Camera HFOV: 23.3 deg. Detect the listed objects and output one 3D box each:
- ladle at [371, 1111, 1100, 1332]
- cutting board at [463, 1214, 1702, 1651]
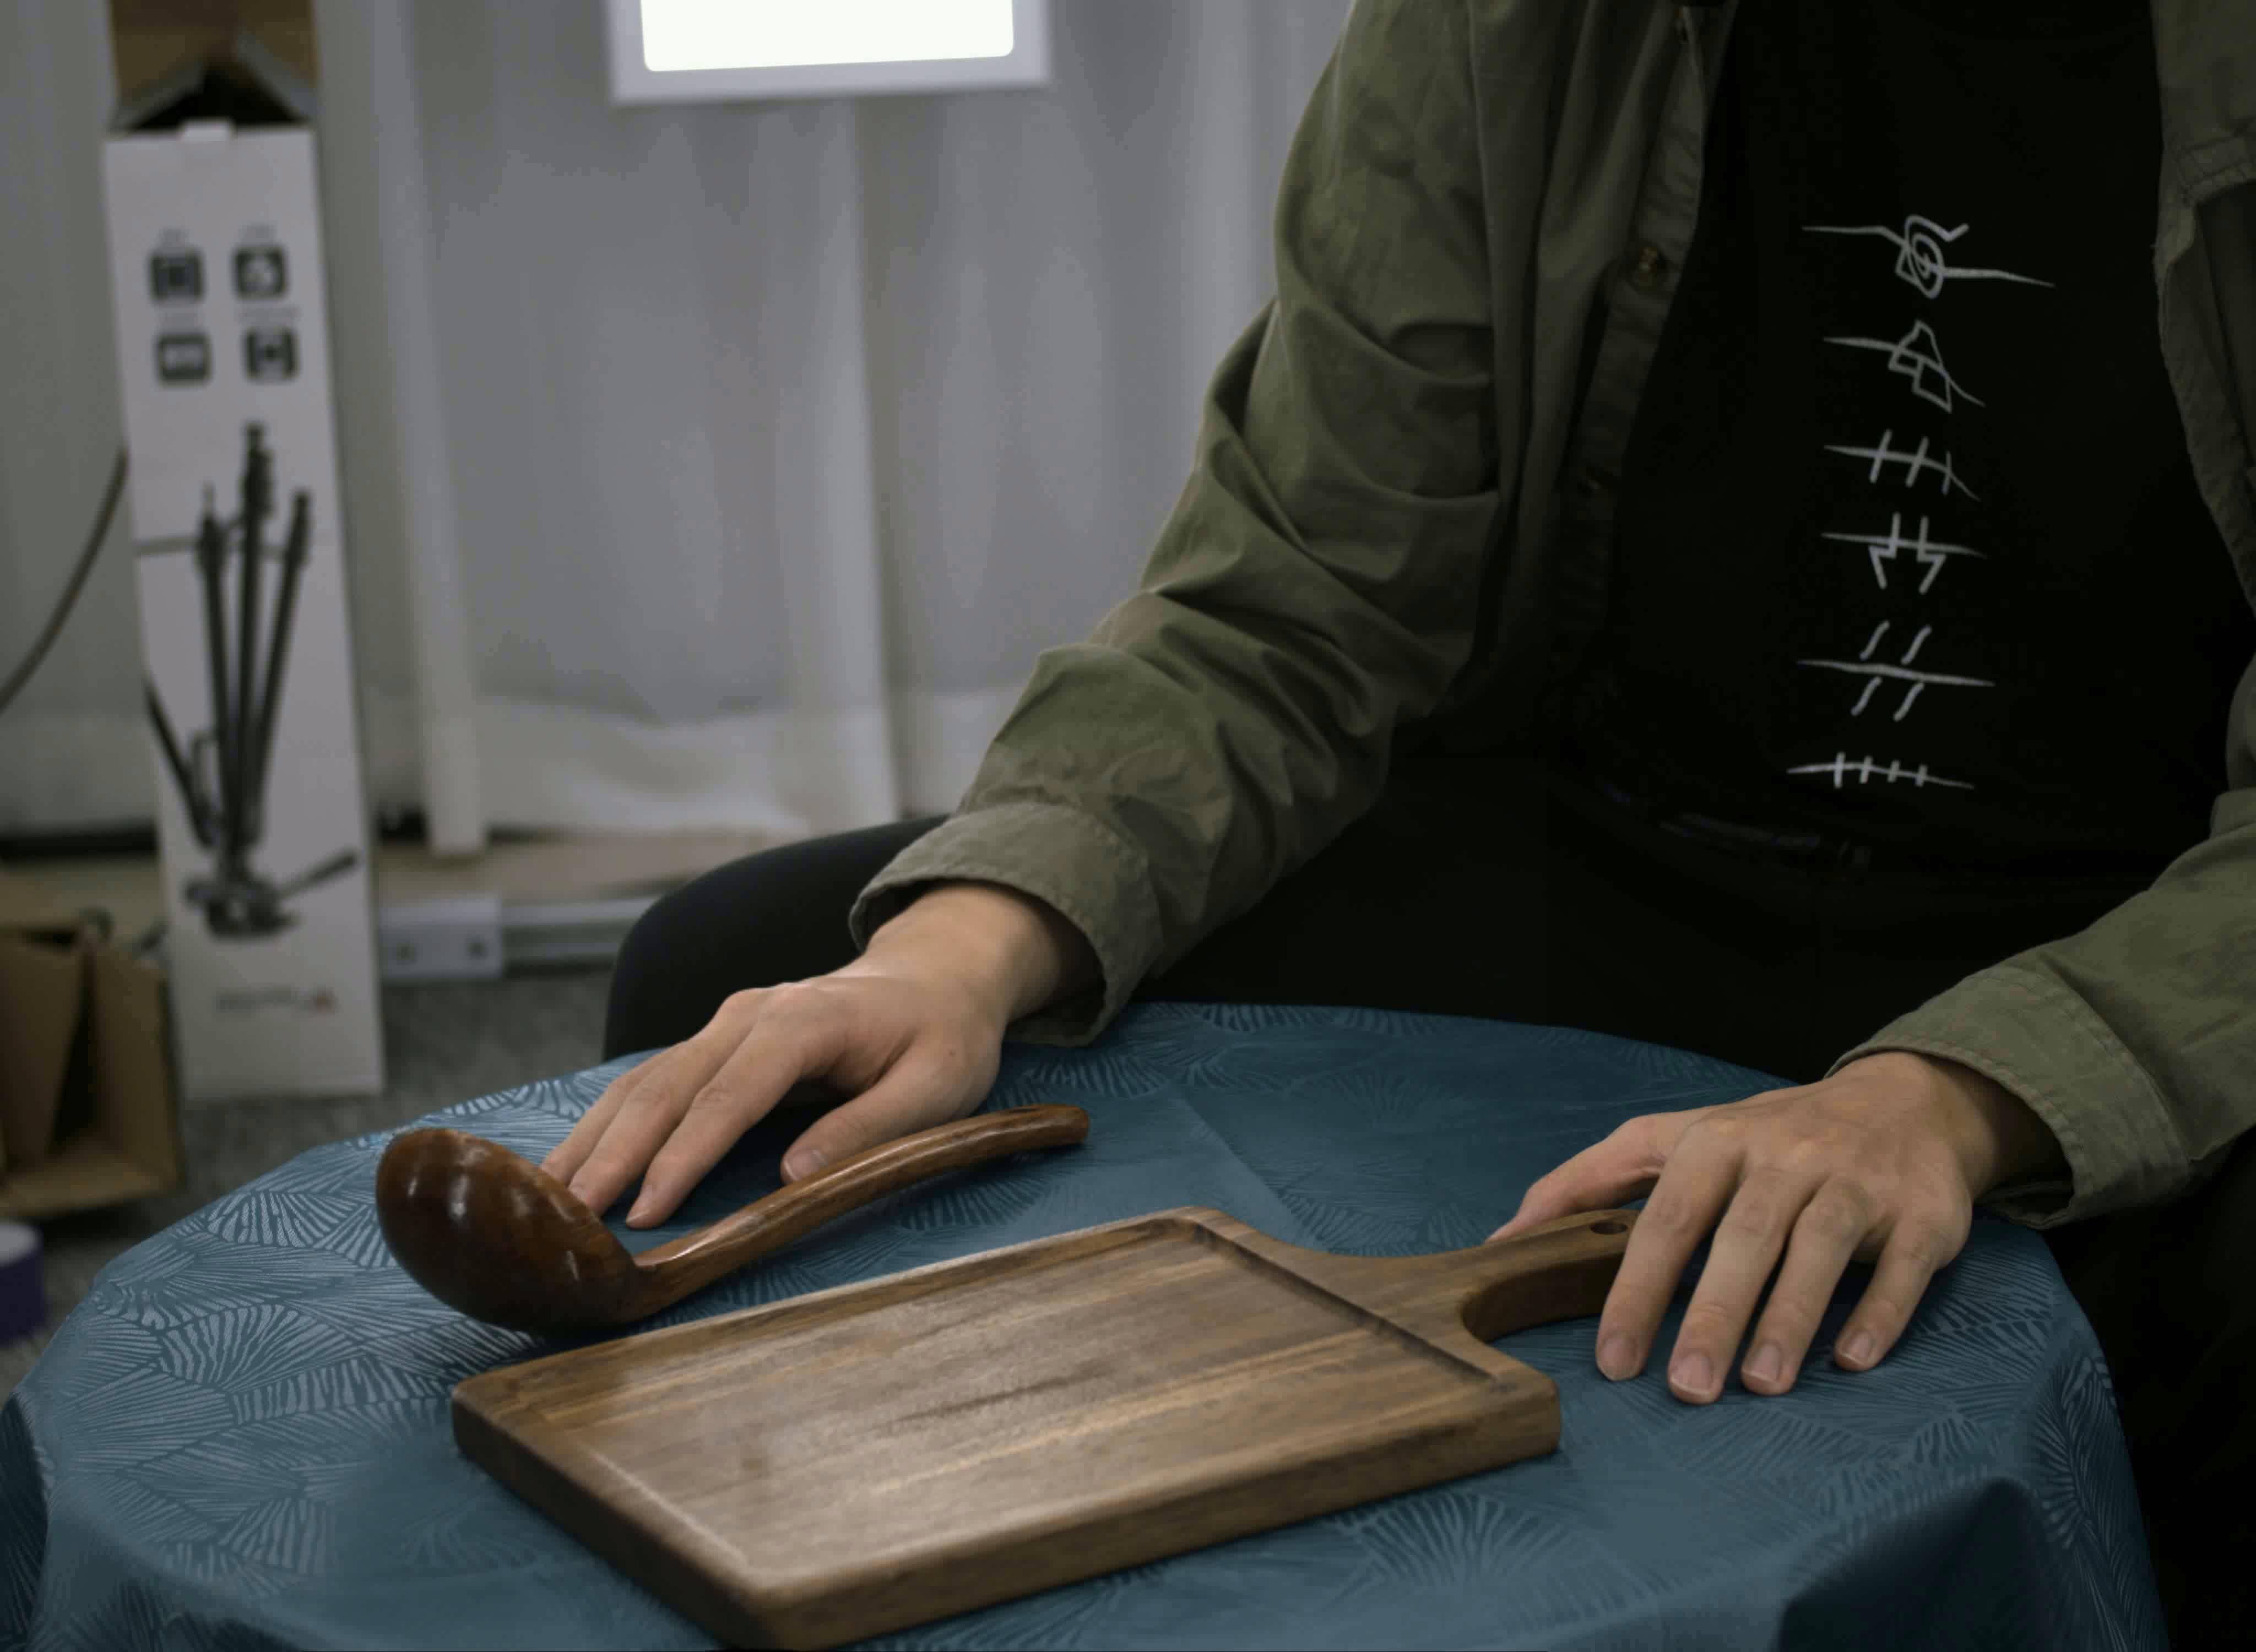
[{"bbox_3d":[-0.113,0.095,1.668,0.082,0.076,0.273,4,15,43],"label":"ladle"},{"bbox_3d":[0.012,0.156,1.516,0.351,0.023,0.202,-11,17,-27],"label":"cutting board"}]
